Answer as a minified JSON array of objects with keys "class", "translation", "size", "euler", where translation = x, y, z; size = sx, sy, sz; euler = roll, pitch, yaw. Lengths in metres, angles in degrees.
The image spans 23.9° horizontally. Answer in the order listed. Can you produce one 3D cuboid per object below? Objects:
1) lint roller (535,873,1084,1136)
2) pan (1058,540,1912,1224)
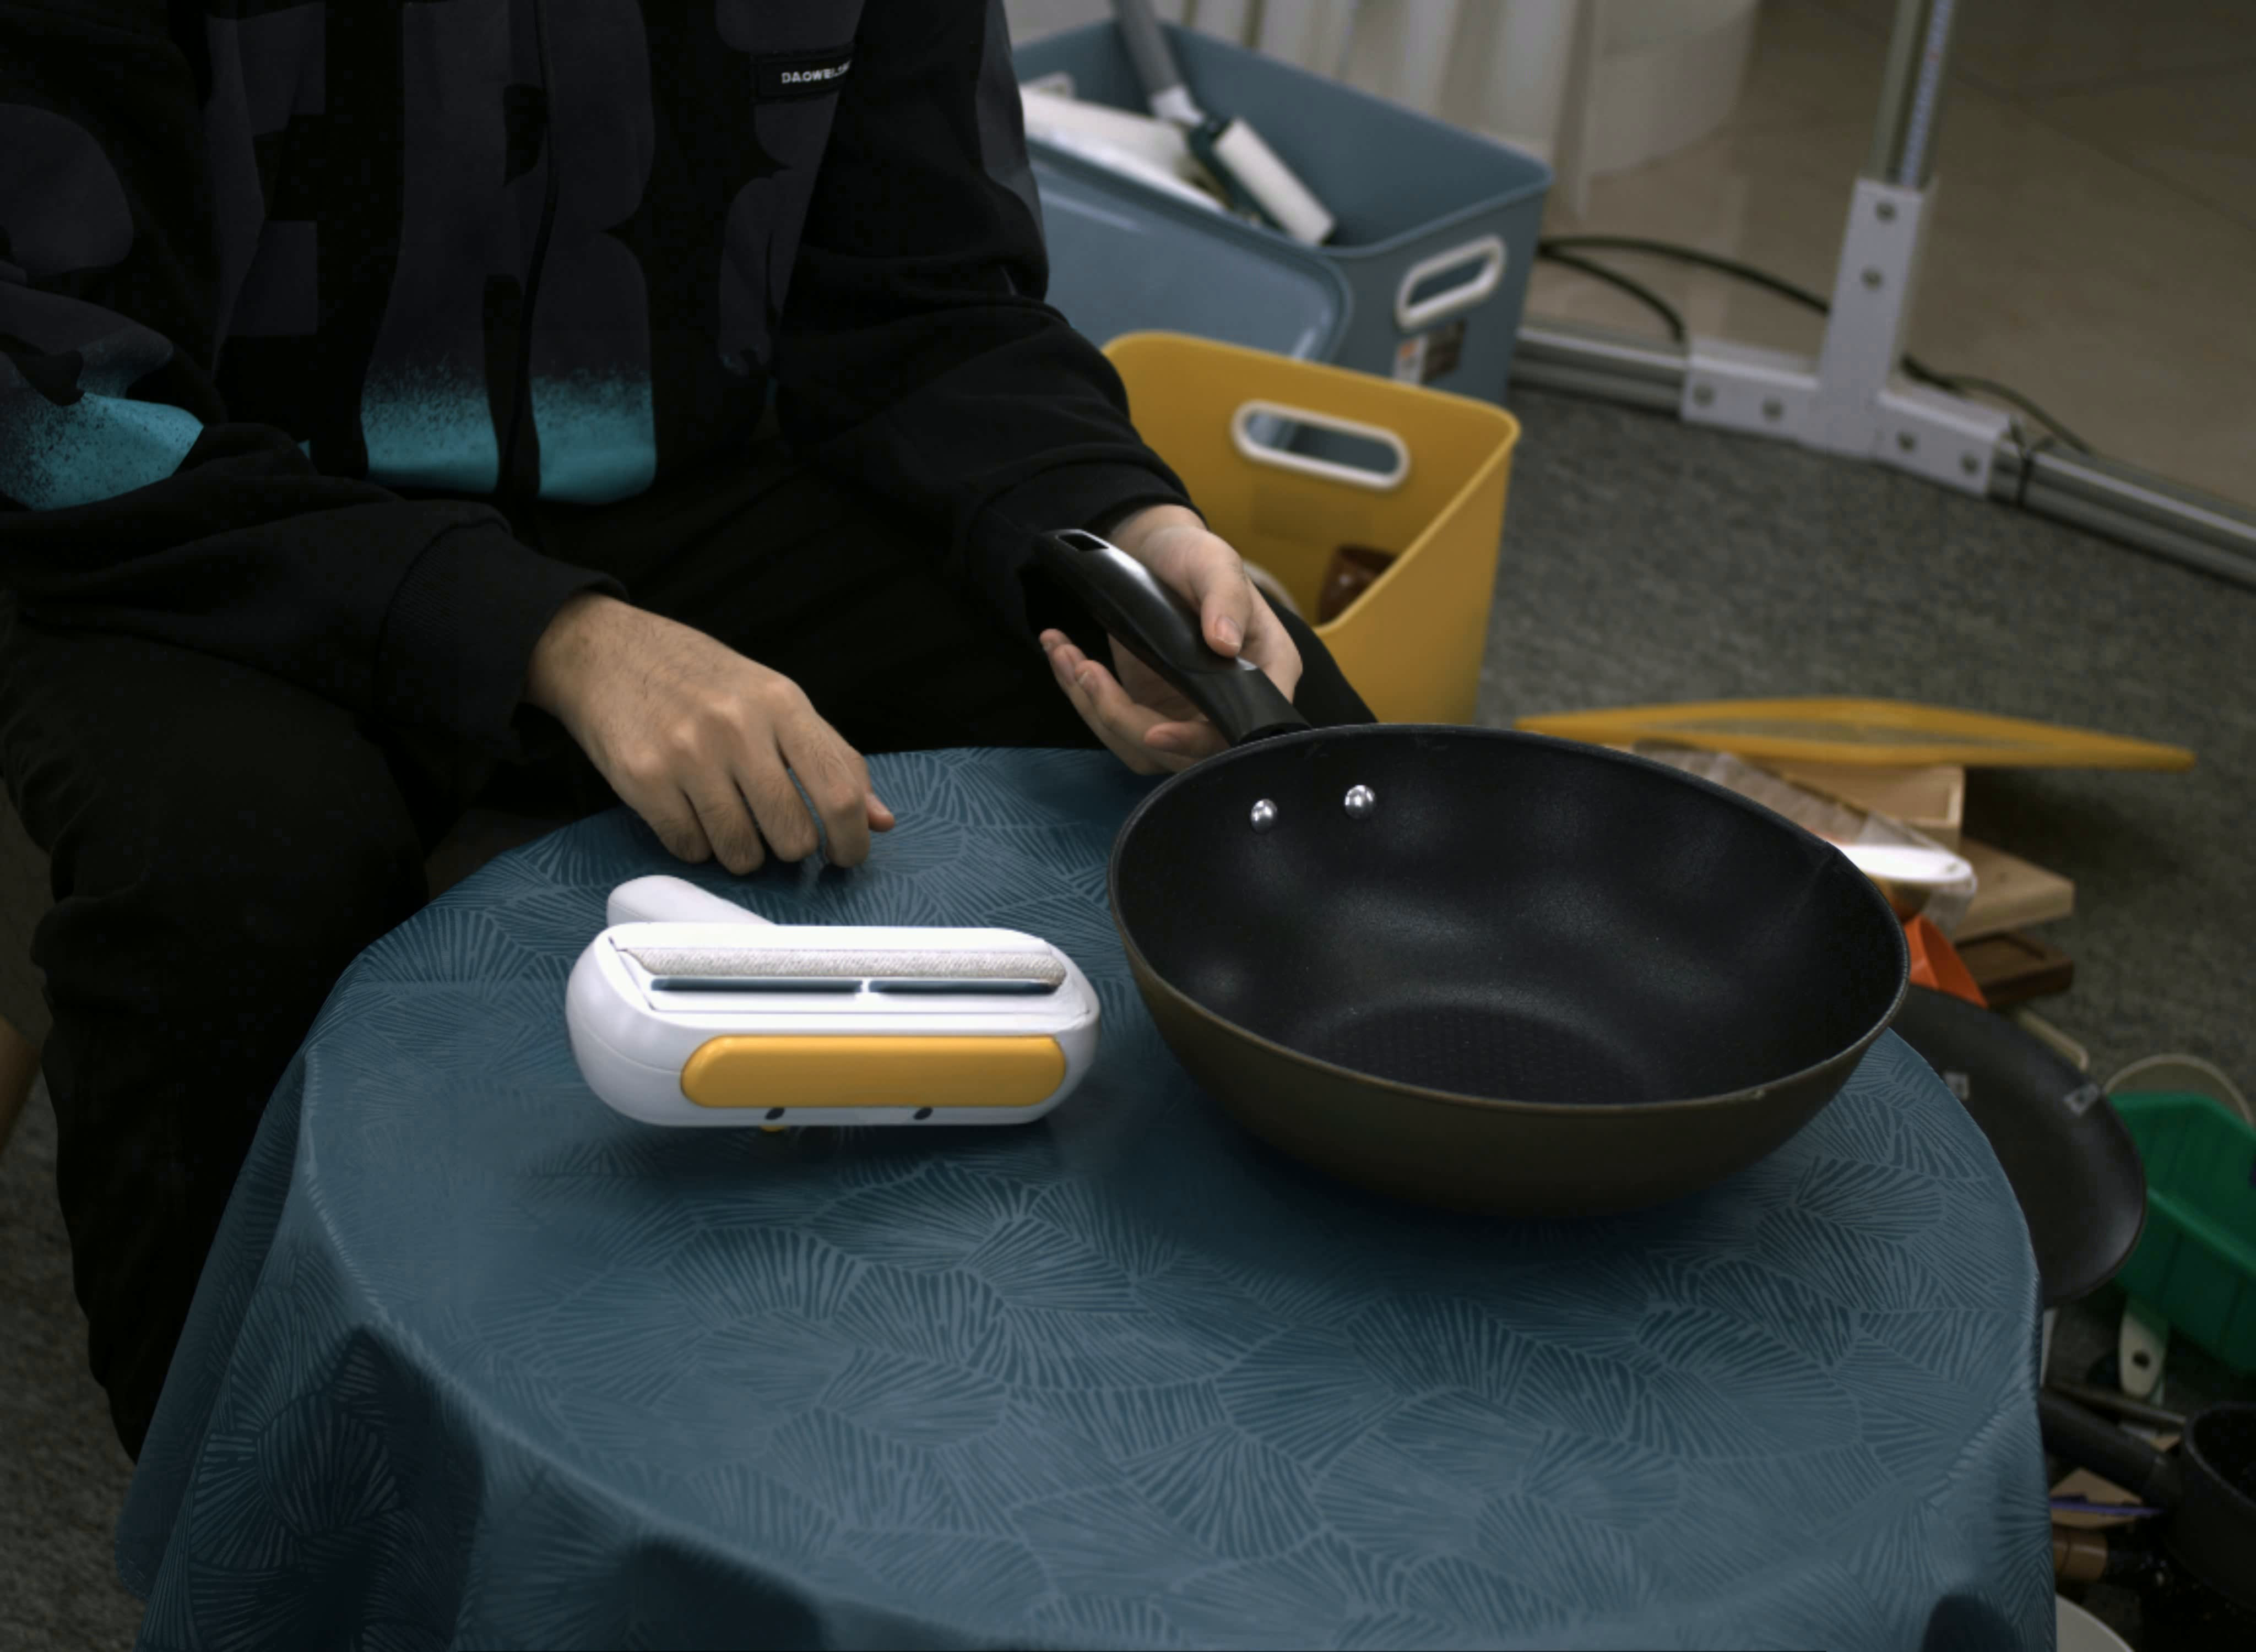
[{"class":"lint roller","translation":[-0.131,0.049,1.842],"size":[0.191,0.074,0.194],"euler":[-1,26,-26]},{"class":"pan","translation":[0.082,0.022,1.925],"size":[0.286,0.086,0.467],"euler":[-9,30,-28]}]
